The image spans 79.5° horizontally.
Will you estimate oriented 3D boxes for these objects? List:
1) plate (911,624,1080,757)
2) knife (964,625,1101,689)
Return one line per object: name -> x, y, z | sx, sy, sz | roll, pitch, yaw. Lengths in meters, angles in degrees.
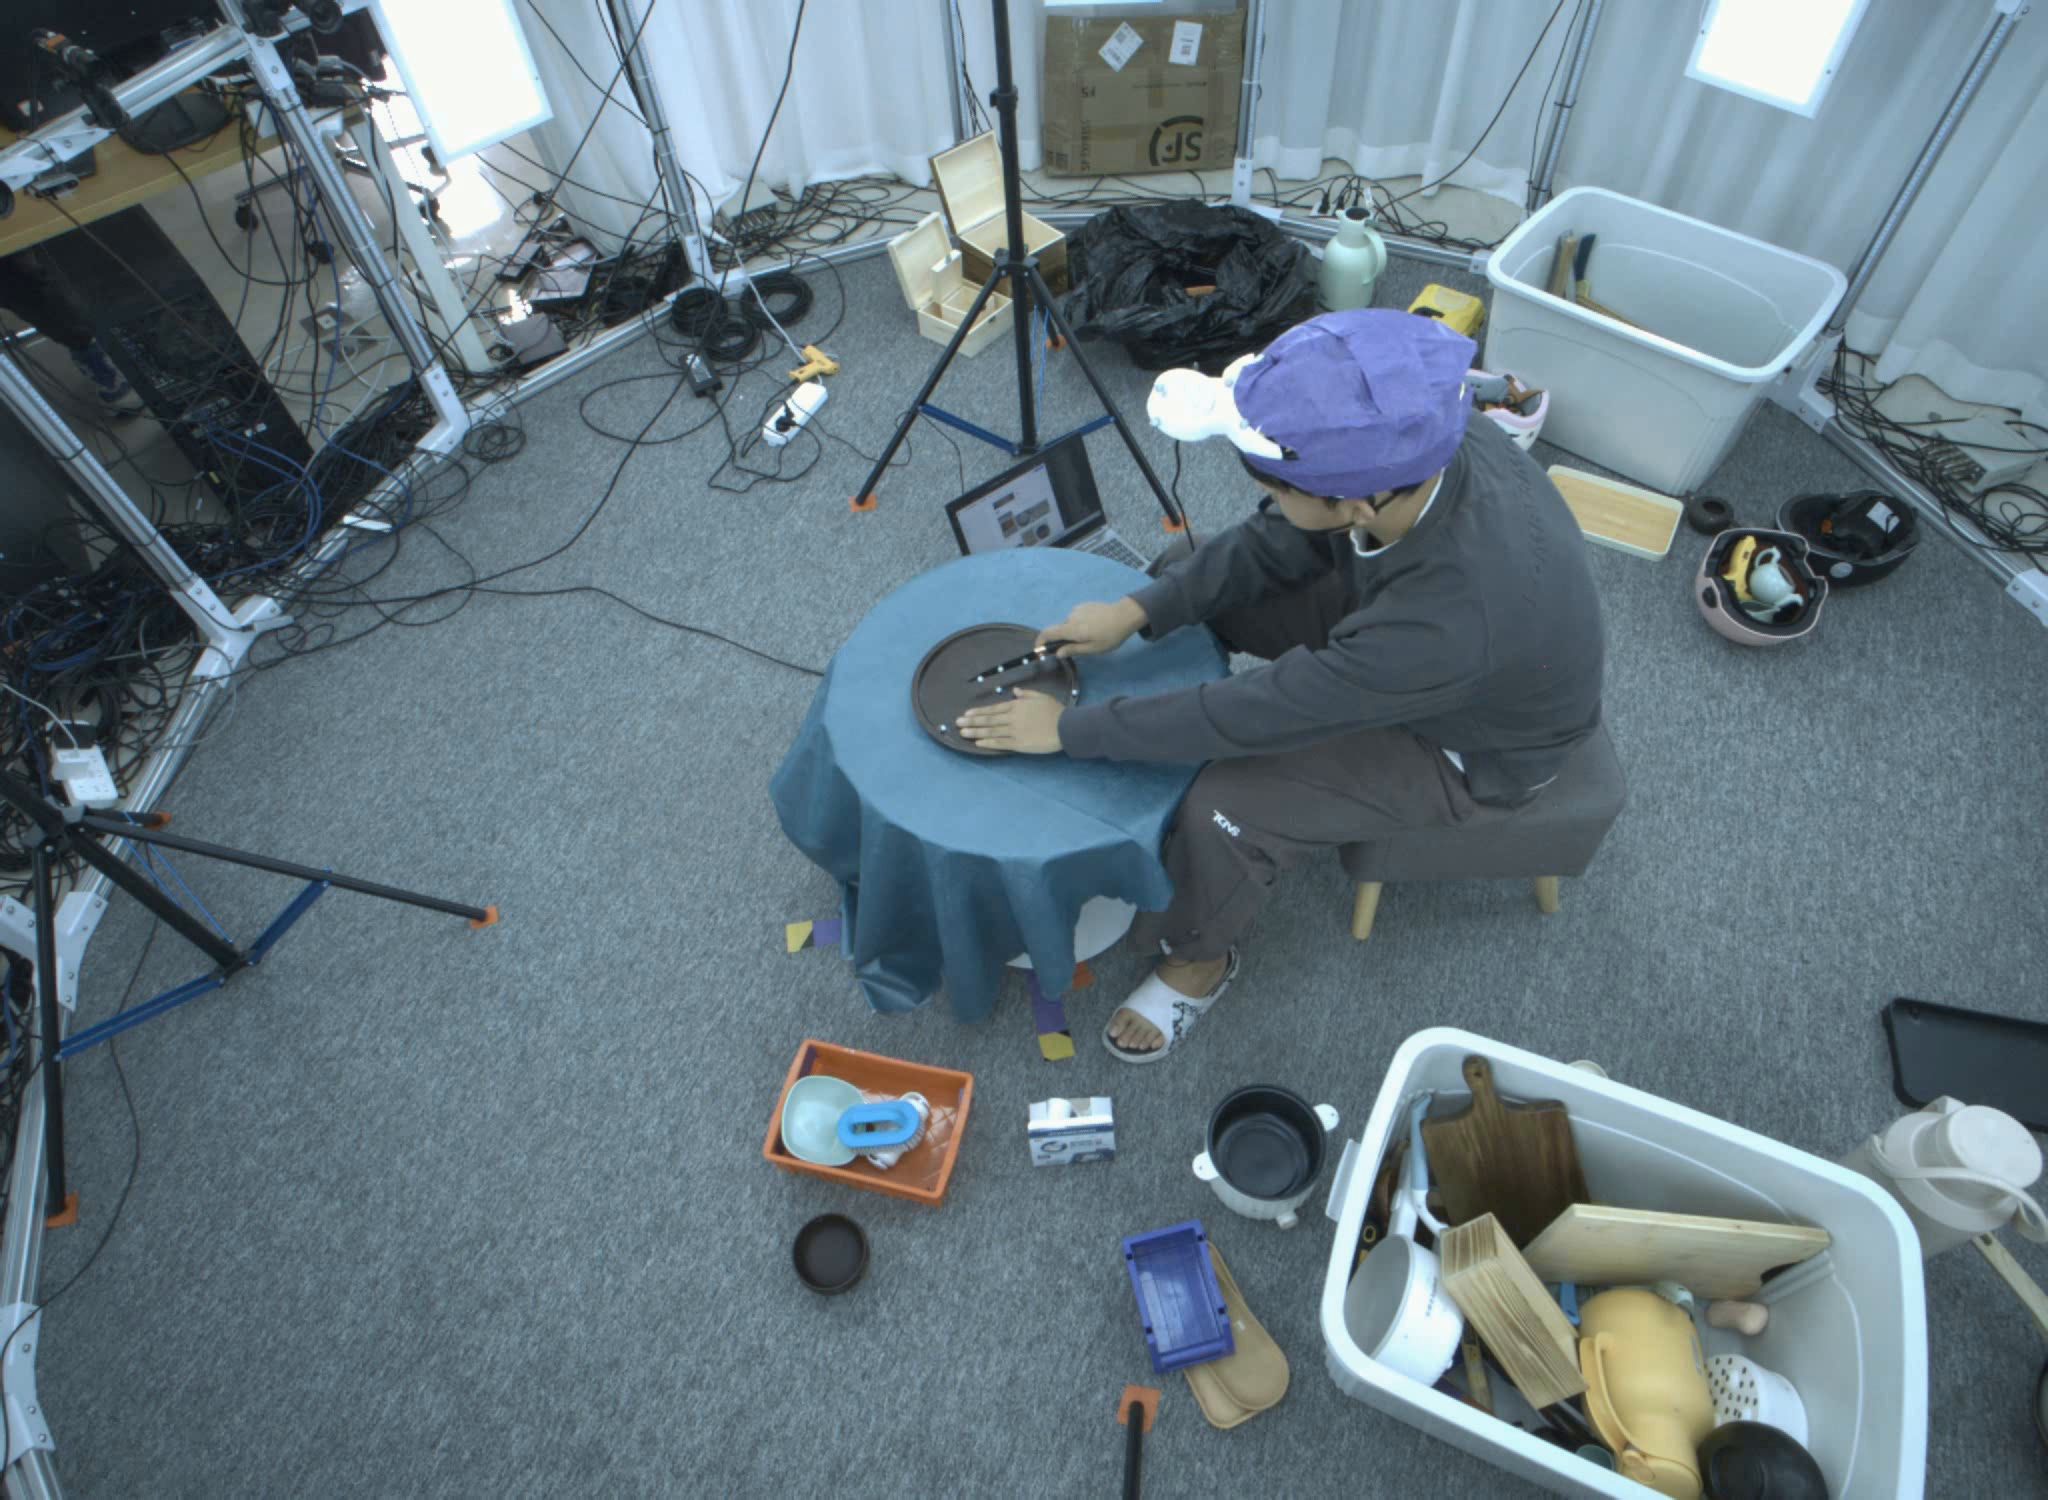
plate -> -0.043, -0.091, 1.839 | 0.255, 0.029, 0.252 | 1, 54, 0
knife -> 0.013, -0.140, 1.838 | 0.227, 0.026, 0.017 | -23, 57, -11
